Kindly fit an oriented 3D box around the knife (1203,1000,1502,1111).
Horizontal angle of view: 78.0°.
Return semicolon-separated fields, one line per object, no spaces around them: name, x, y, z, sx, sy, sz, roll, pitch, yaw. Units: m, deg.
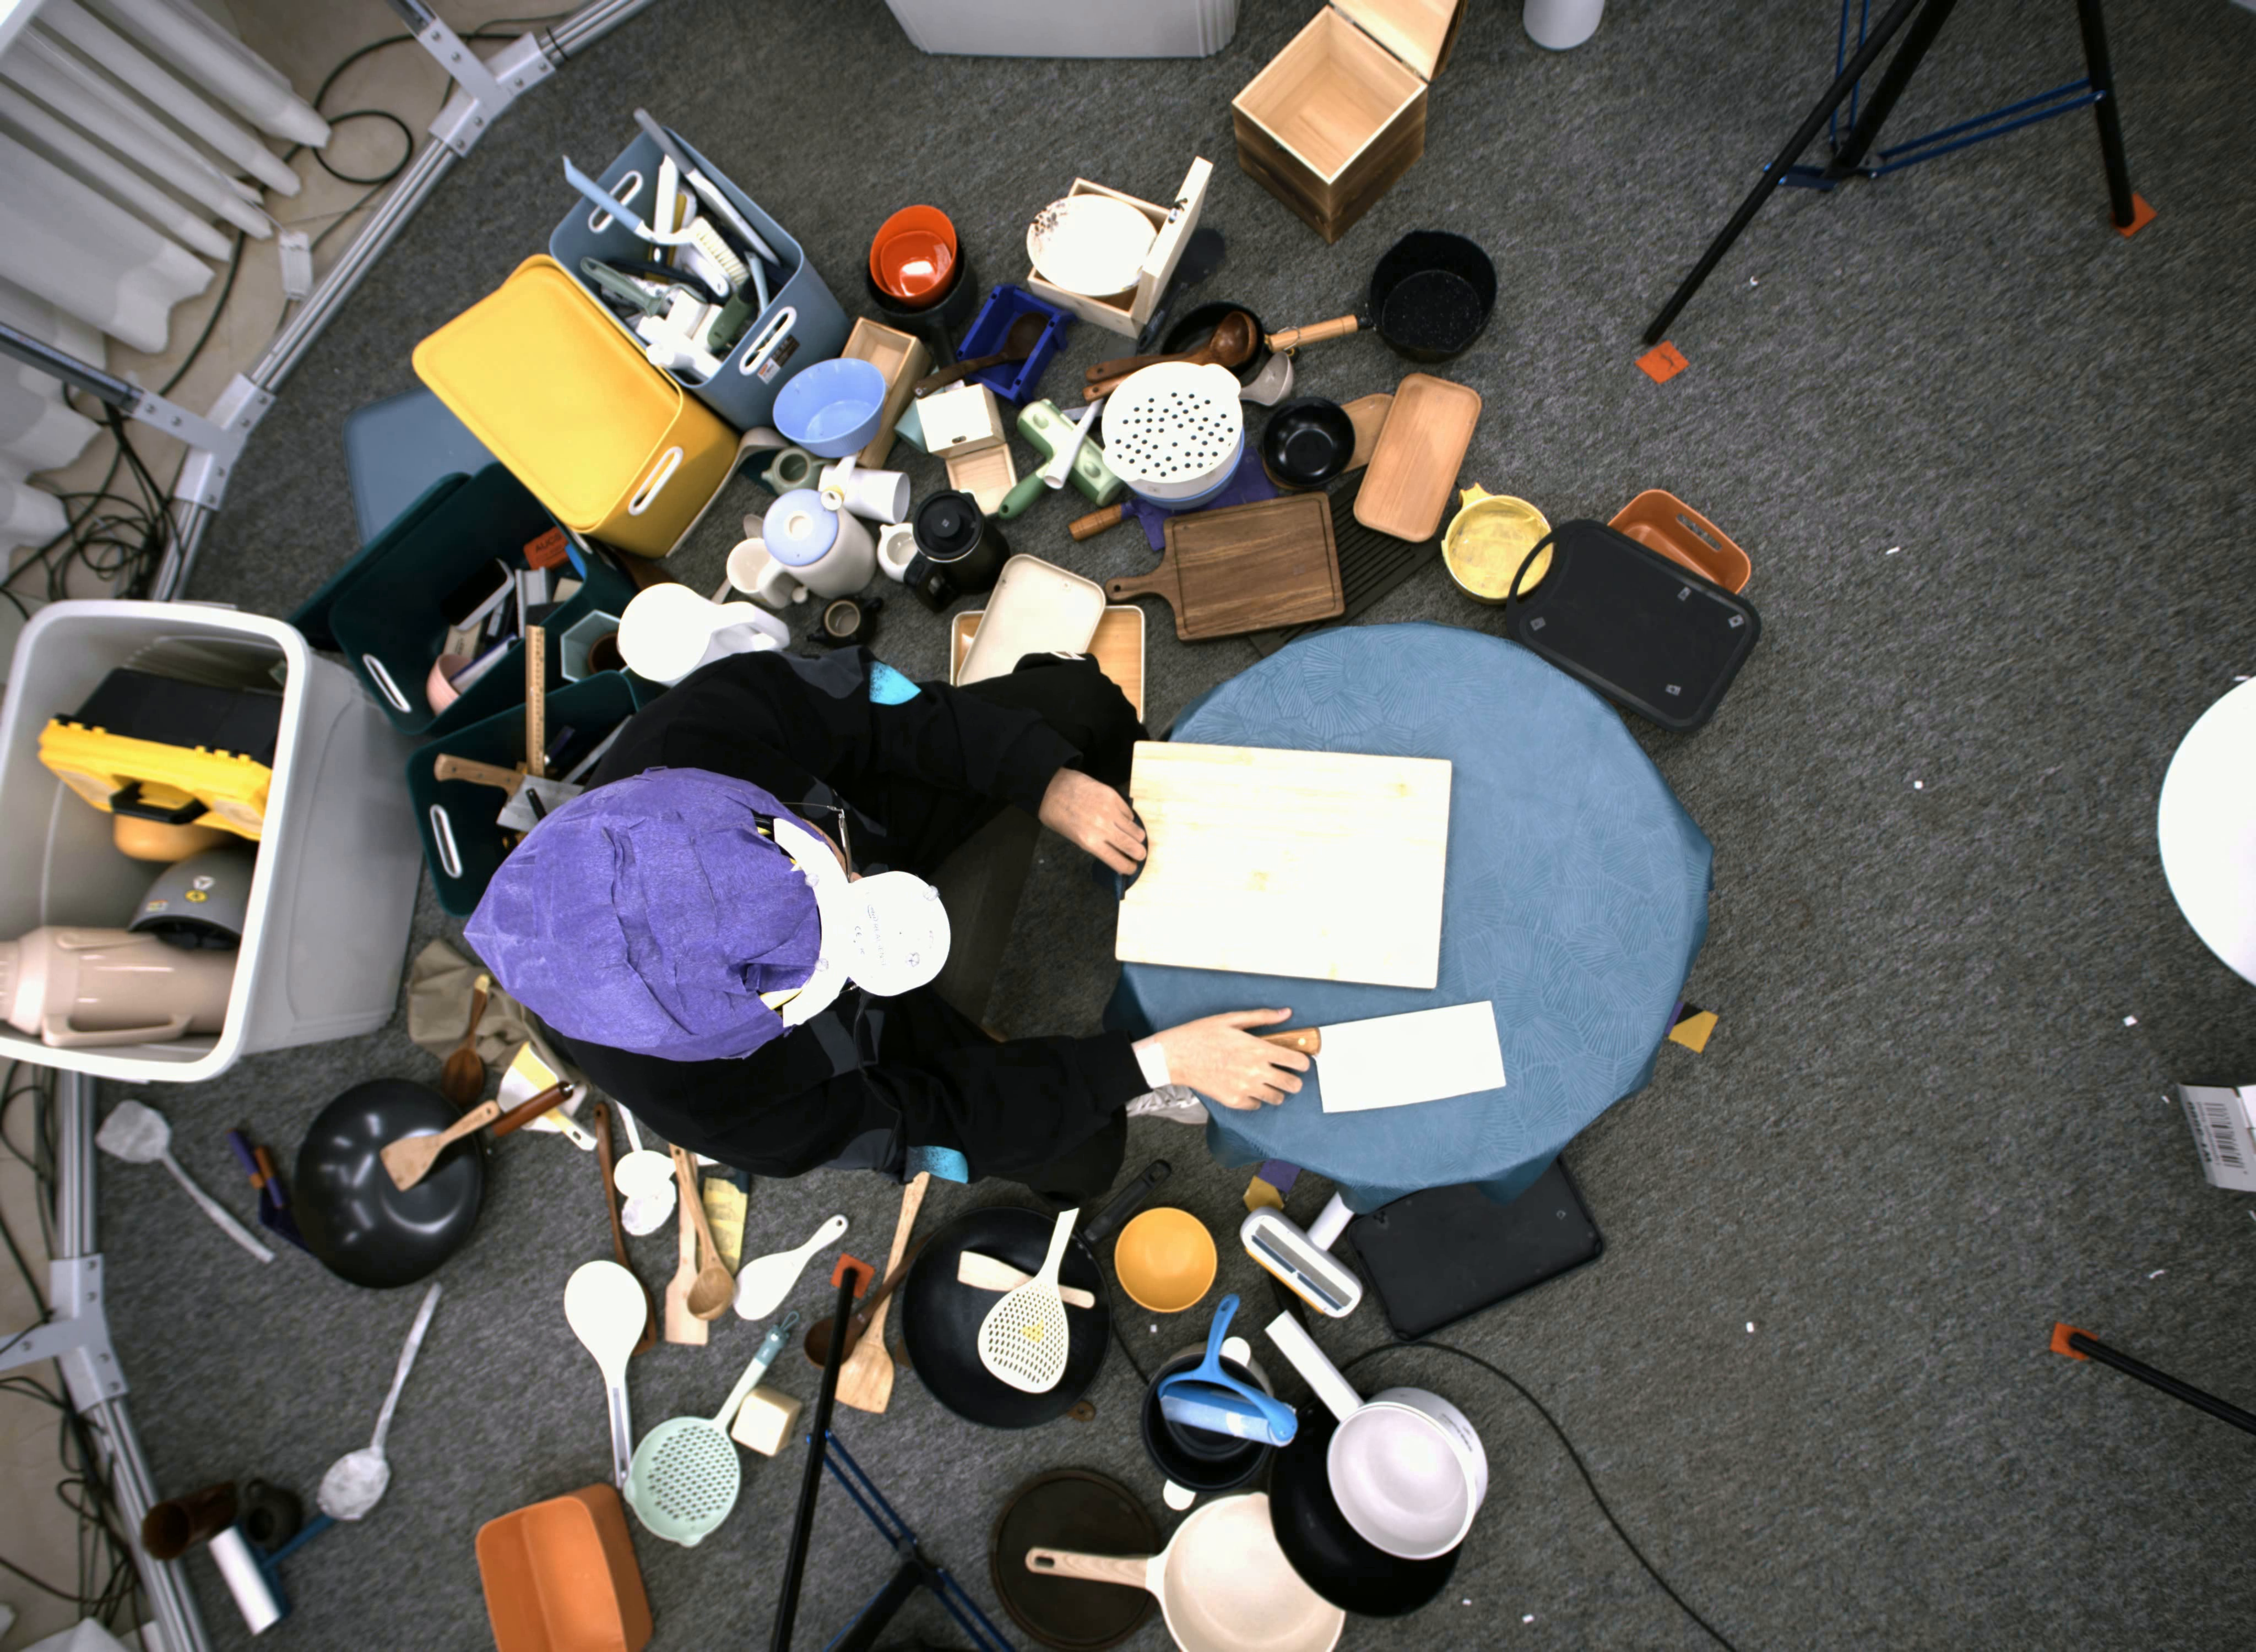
knife;0.235;0.247;1.449;0.307;0.021;0.092;-10;86;7

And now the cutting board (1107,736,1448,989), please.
cutting board;0.158;0.036;1.474;0.350;0.023;0.250;3;87;11
